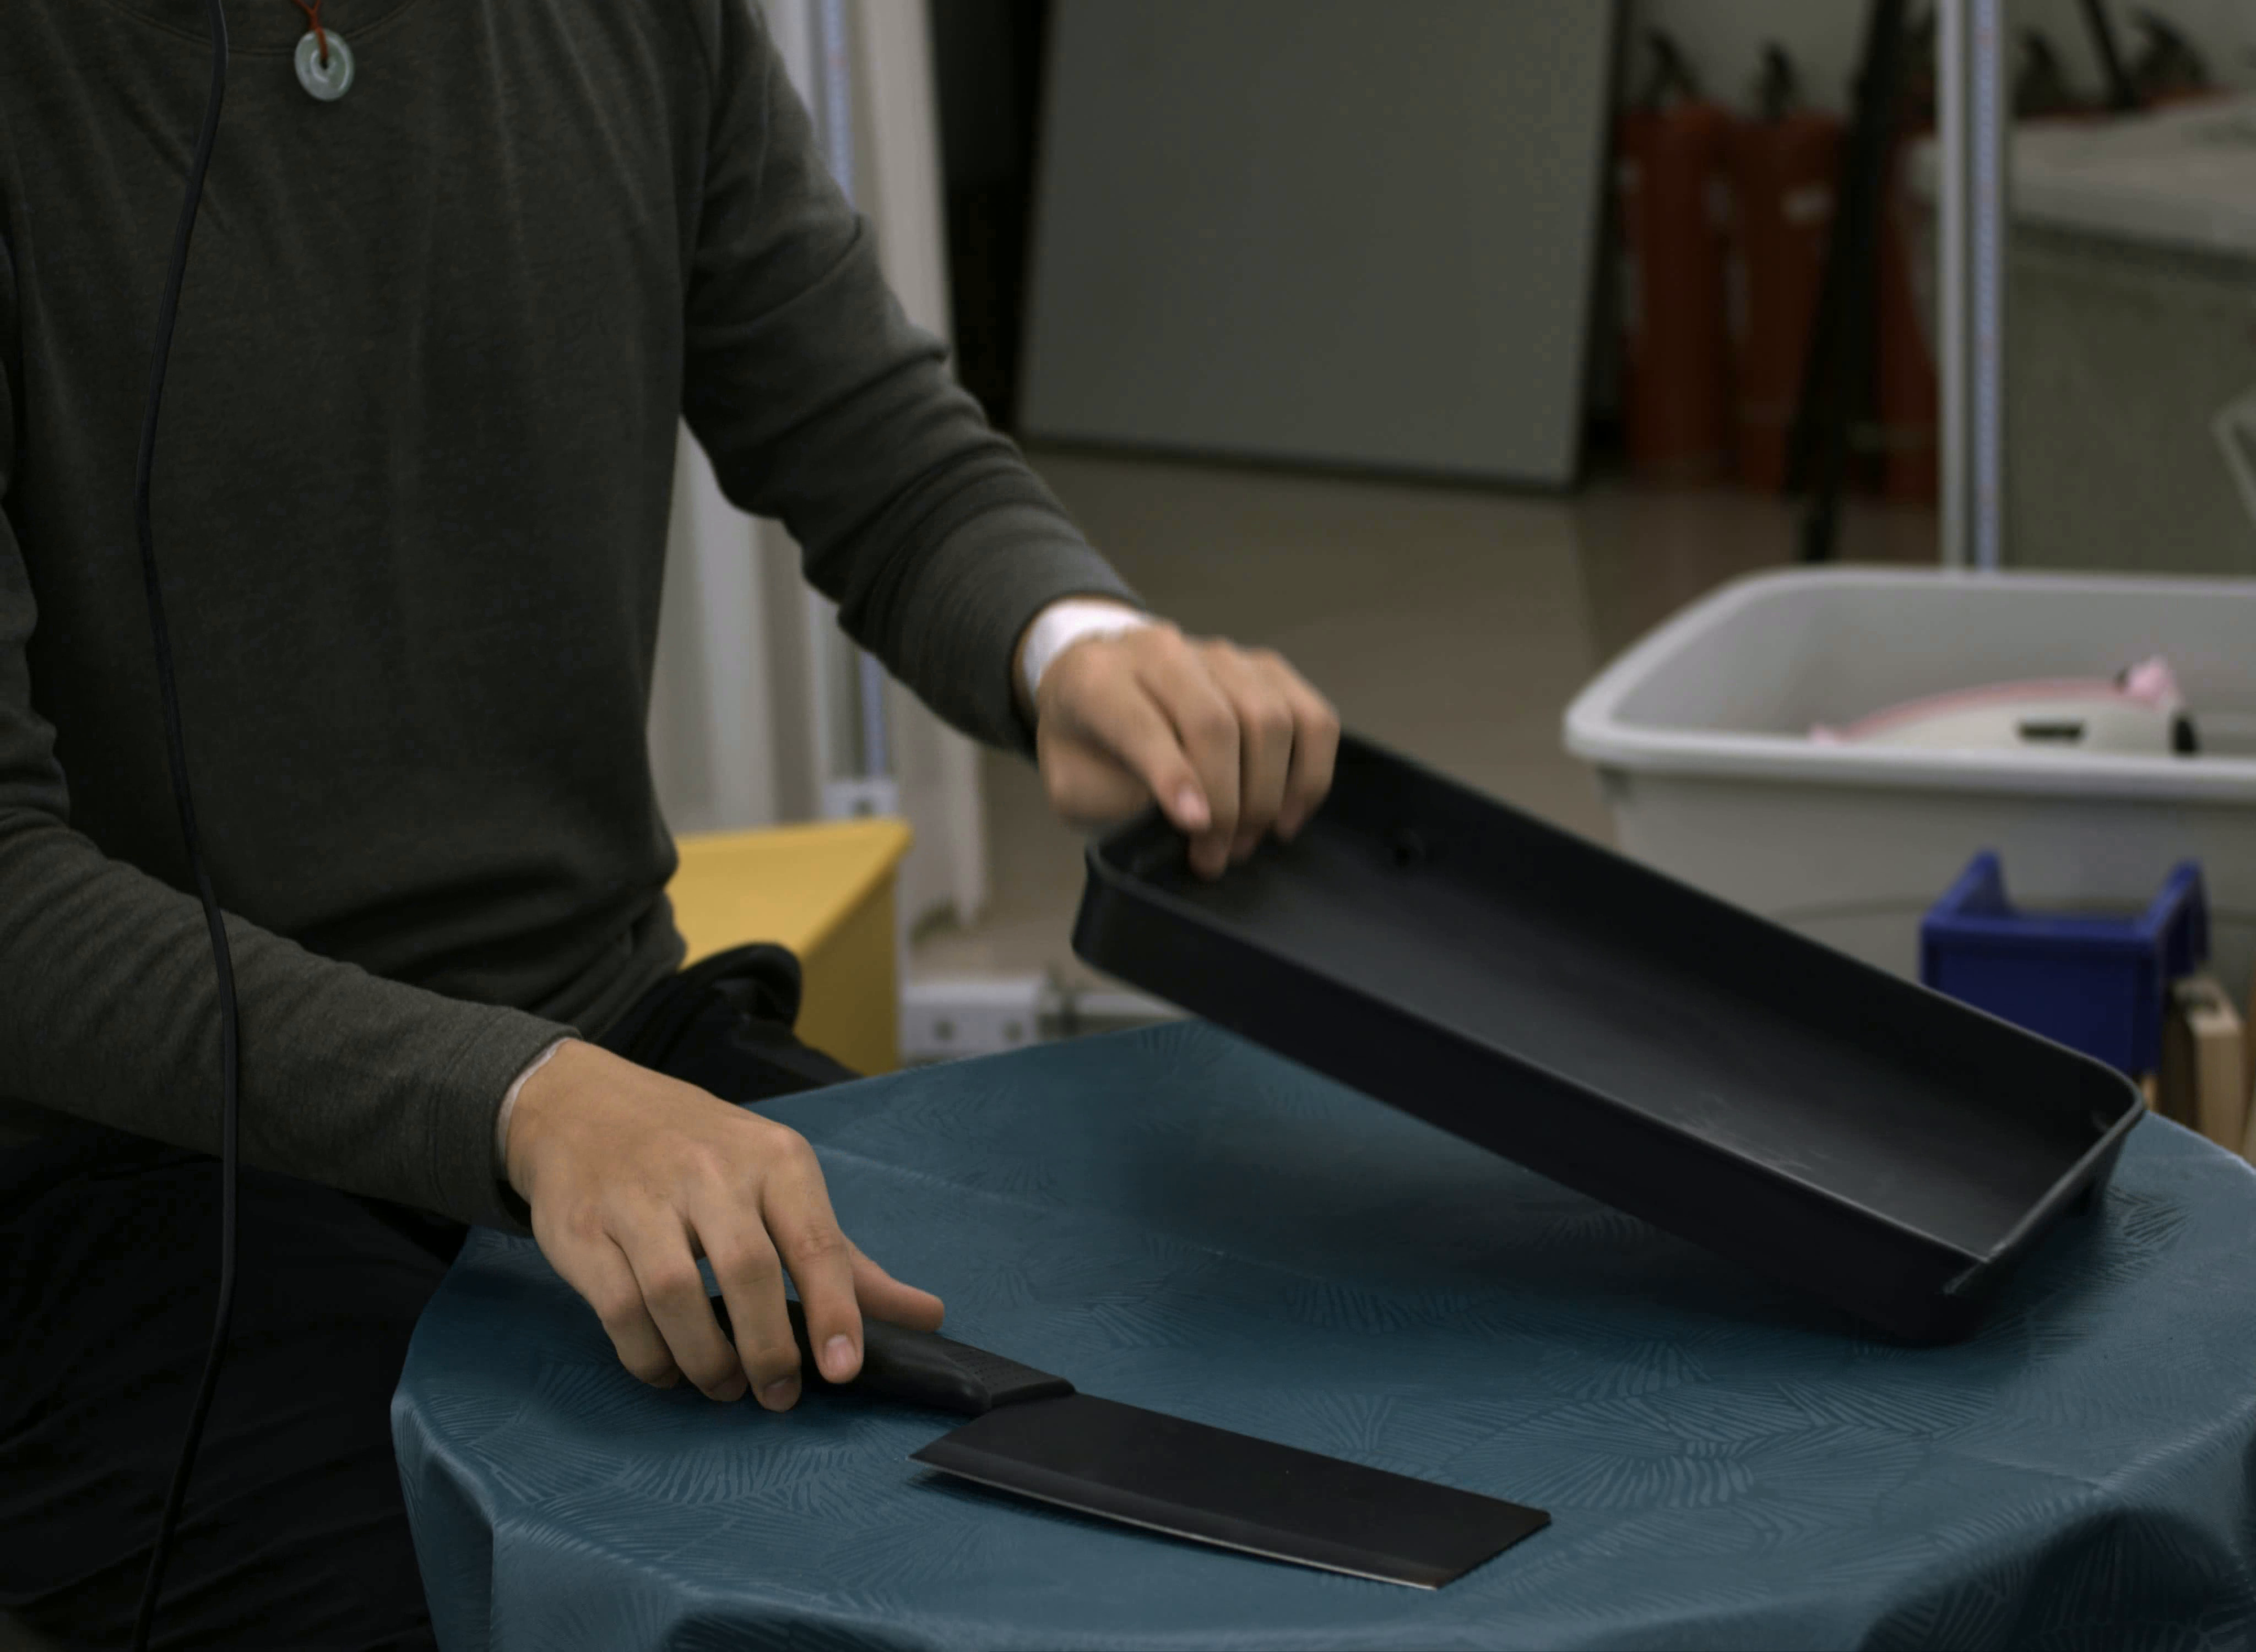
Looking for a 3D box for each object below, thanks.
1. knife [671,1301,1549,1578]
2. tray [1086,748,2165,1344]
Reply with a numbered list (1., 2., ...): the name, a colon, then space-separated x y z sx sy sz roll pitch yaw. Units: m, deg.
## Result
1. knife: -0.017 0.174 1.533 0.305 0.021 0.079 10 19 42
2. tray: 0.156 0.064 1.687 0.318 0.037 0.182 21 22 19
